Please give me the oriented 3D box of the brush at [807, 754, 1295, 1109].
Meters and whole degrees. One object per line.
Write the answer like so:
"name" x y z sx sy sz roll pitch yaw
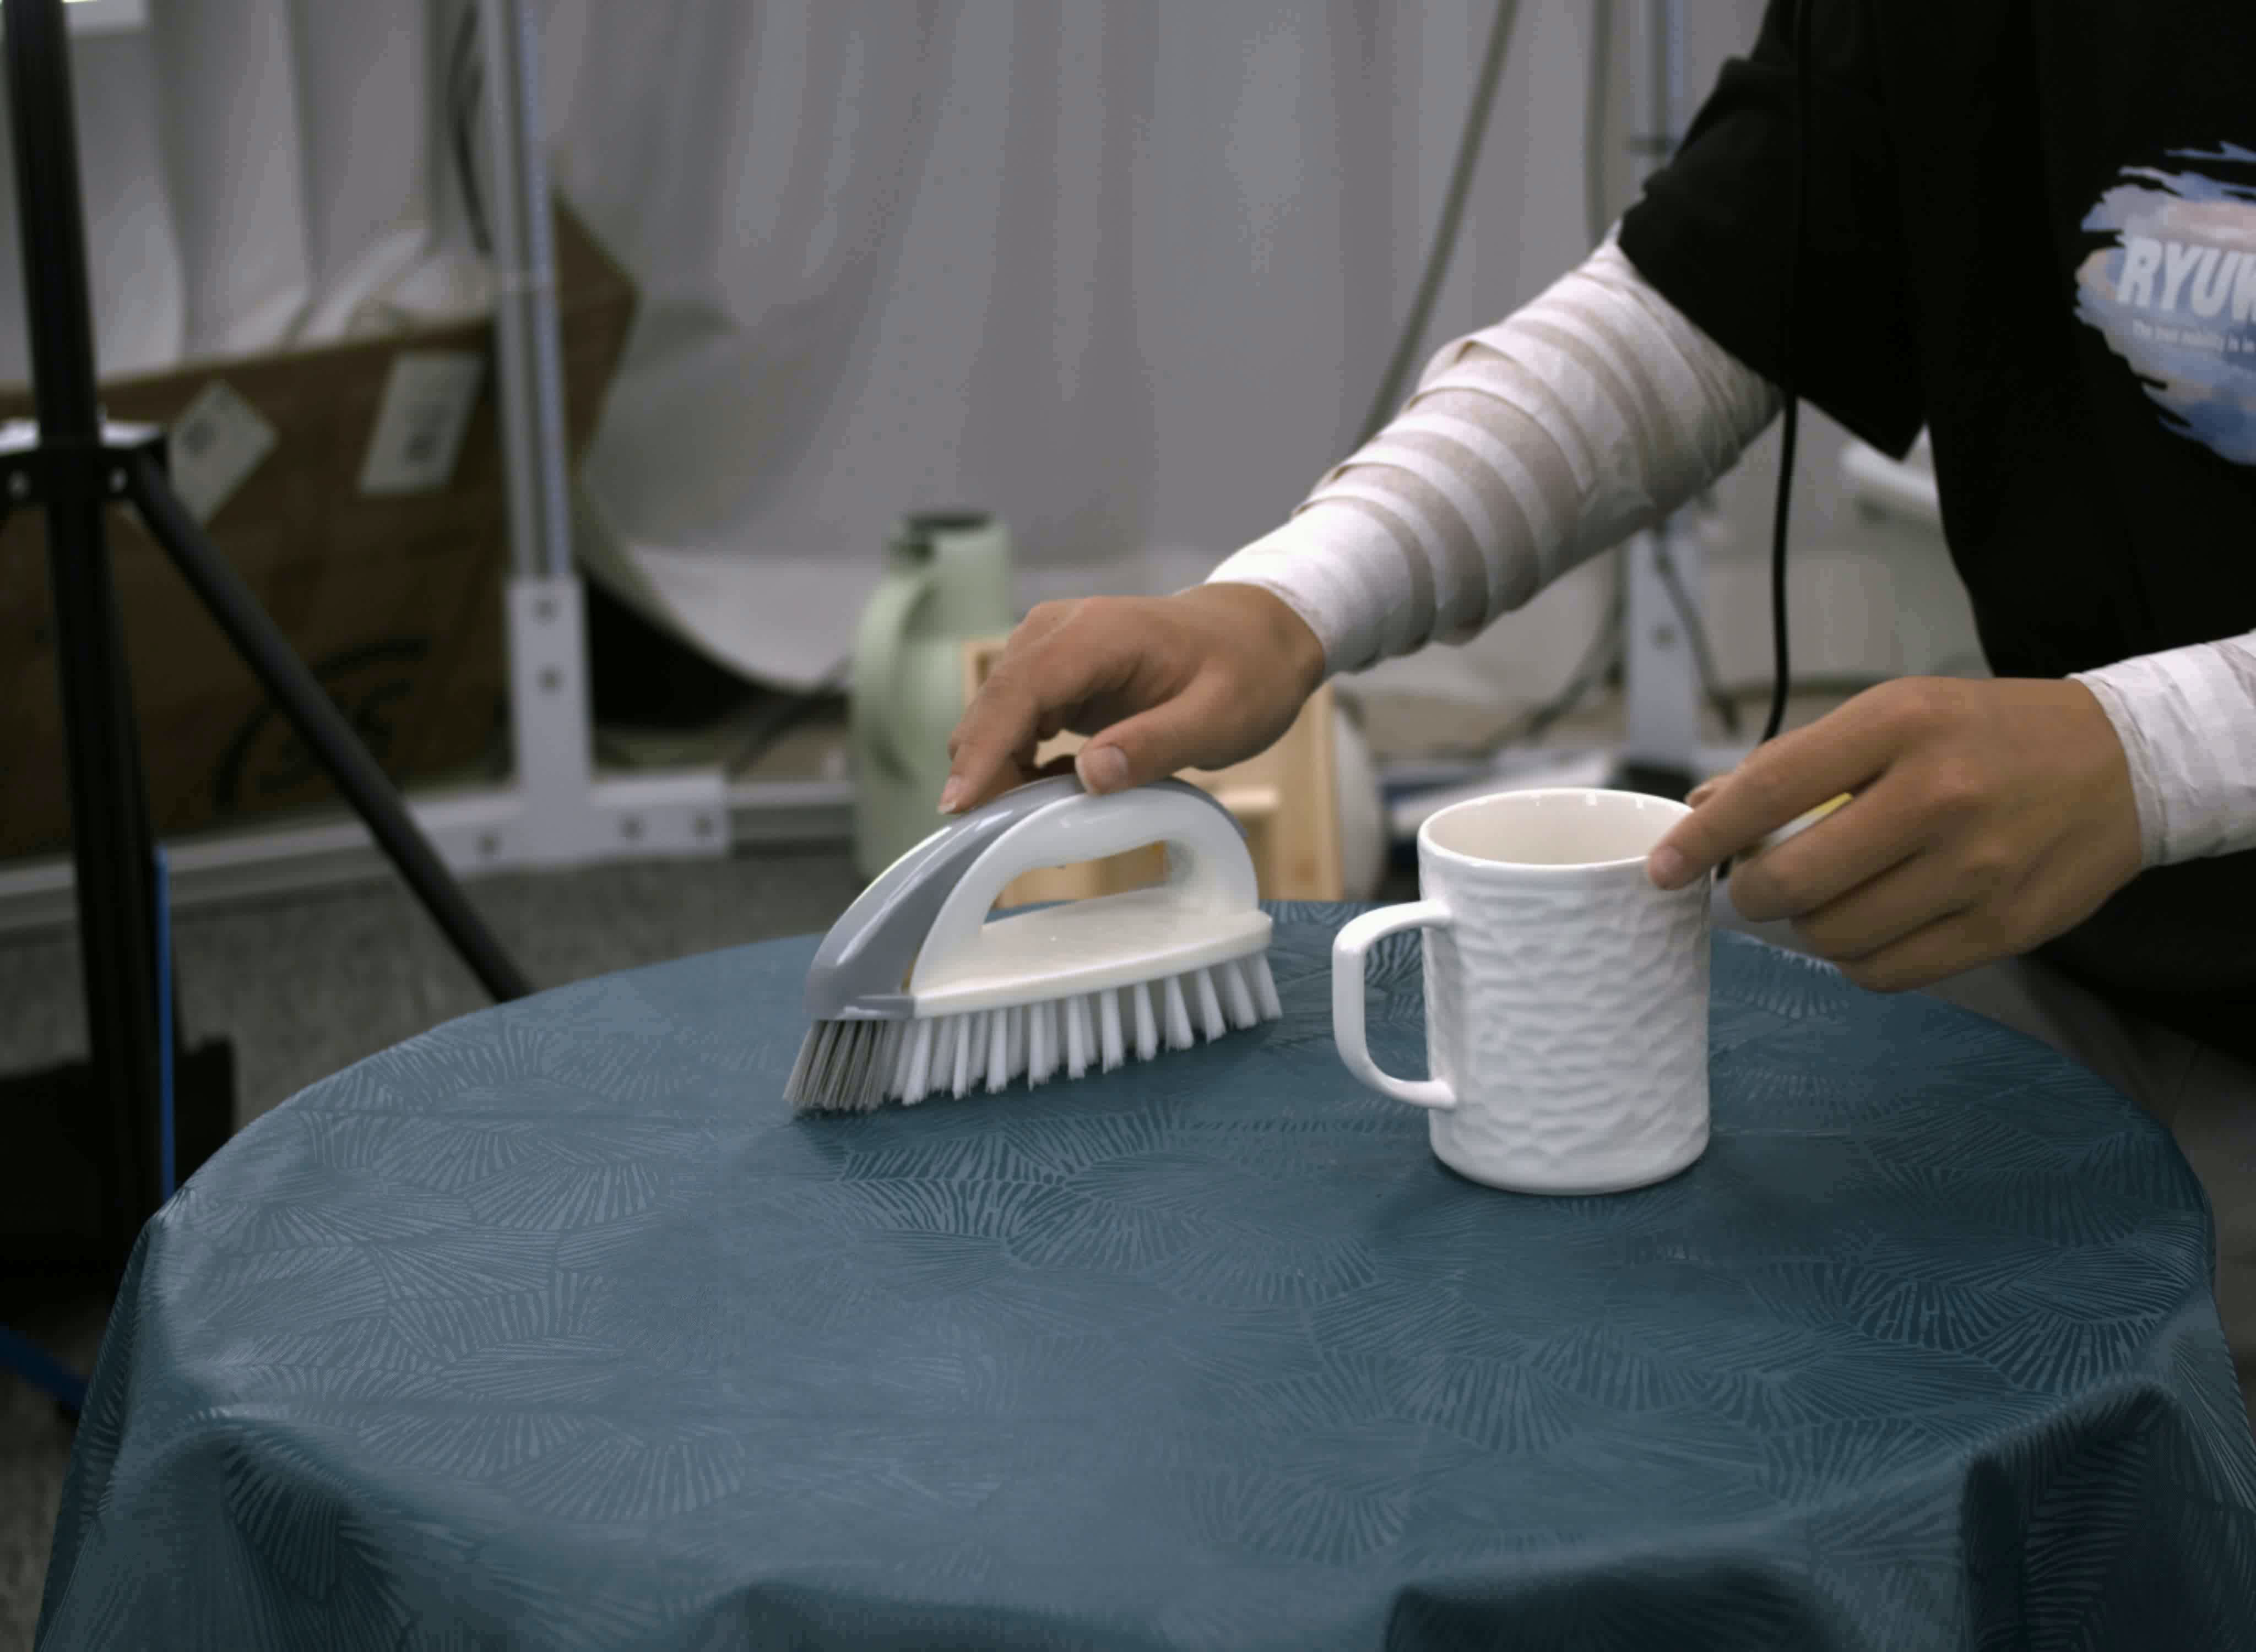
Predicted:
"brush" -0.030 0.031 1.670 0.171 0.094 0.063 -14 16 -31

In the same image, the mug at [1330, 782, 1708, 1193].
"mug" 0.114 0.050 1.556 0.116 0.102 0.086 -10 17 -22
